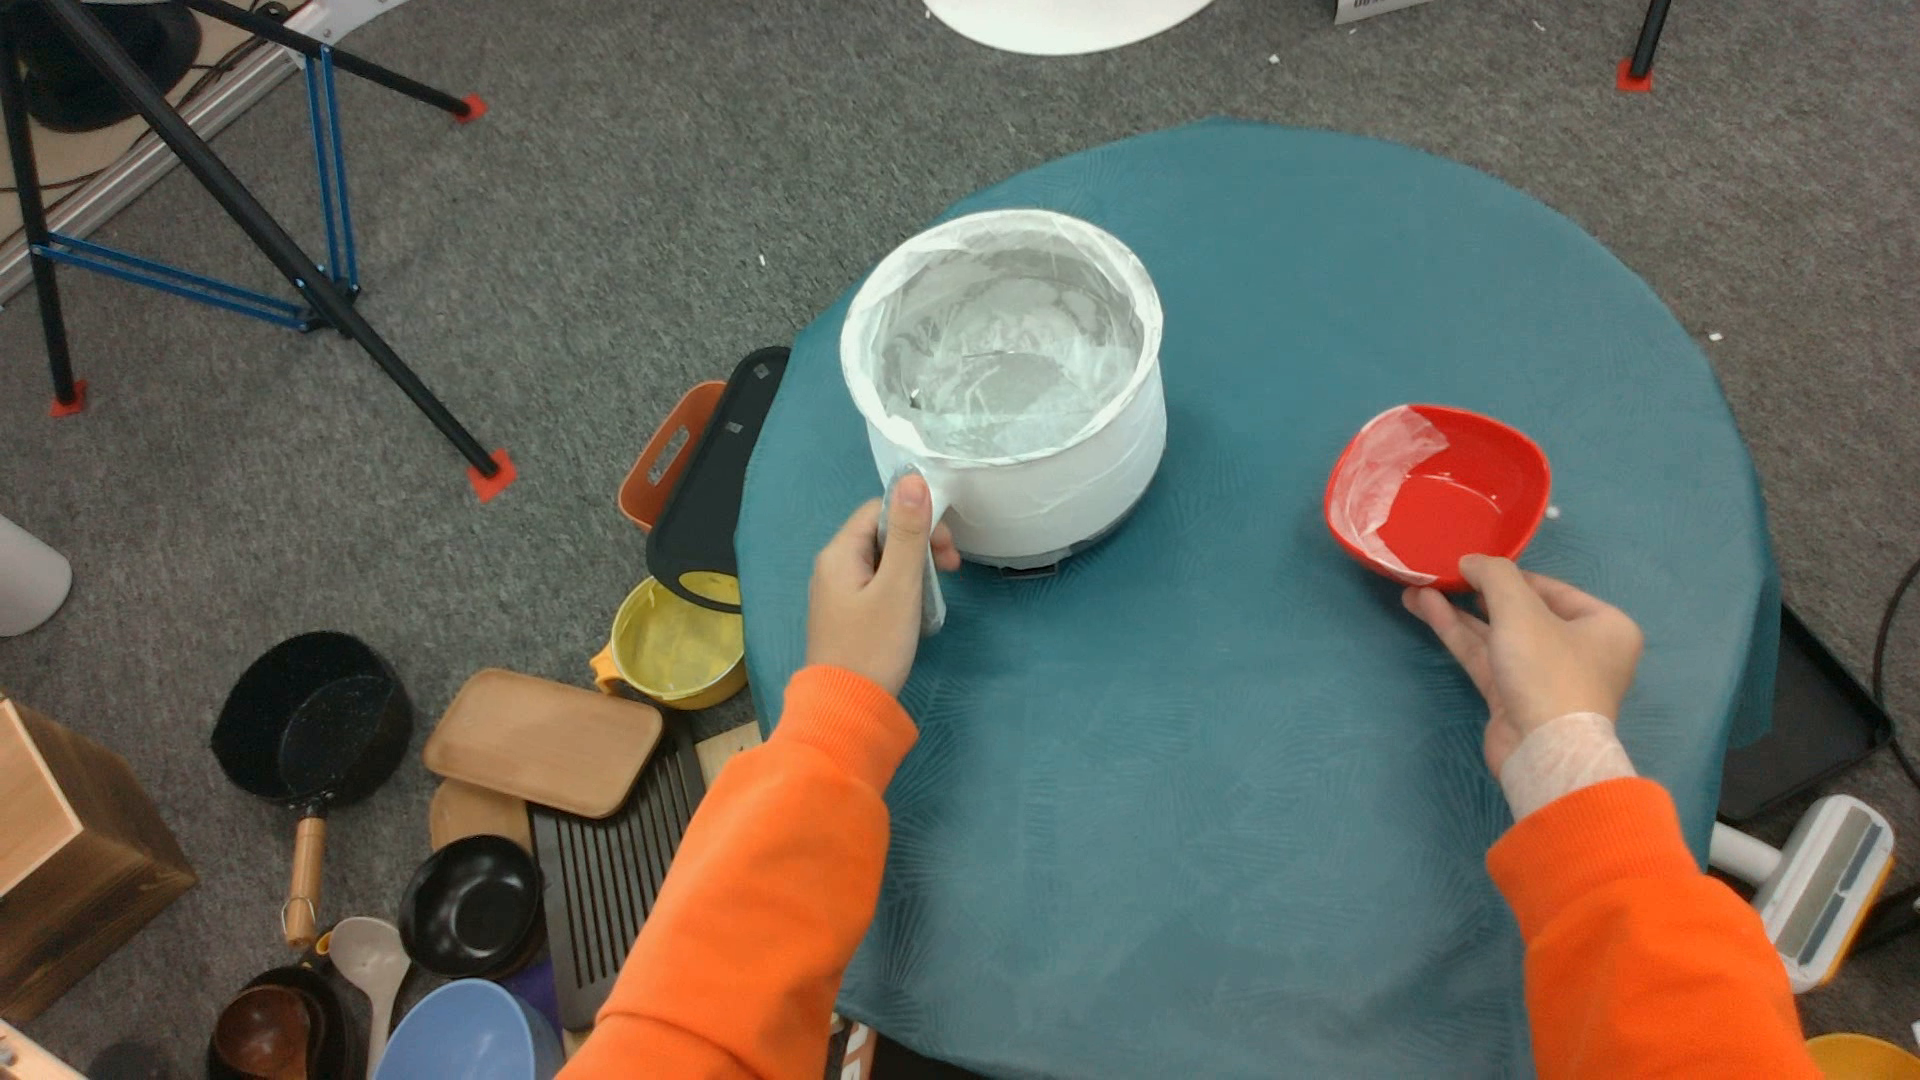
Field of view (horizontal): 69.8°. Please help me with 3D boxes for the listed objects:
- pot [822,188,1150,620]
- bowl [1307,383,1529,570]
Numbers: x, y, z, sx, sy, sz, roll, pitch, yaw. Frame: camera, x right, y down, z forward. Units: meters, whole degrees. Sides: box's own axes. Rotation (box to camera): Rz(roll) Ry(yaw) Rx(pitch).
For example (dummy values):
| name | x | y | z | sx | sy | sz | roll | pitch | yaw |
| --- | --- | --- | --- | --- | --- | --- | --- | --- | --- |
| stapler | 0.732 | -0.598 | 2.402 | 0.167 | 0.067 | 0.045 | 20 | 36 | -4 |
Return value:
| name | x | y | z | sx | sy | sz | roll | pitch | yaw |
| --- | --- | --- | --- | --- | --- | --- | --- | --- | --- |
| pot | 0.008 | -0.071 | 0.791 | 0.178 | 0.136 | 0.234 | 19 | 66 | 20 |
| bowl | 0.254 | -0.027 | 0.769 | 0.119 | 0.051 | 0.119 | -7 | 57 | 11 |
